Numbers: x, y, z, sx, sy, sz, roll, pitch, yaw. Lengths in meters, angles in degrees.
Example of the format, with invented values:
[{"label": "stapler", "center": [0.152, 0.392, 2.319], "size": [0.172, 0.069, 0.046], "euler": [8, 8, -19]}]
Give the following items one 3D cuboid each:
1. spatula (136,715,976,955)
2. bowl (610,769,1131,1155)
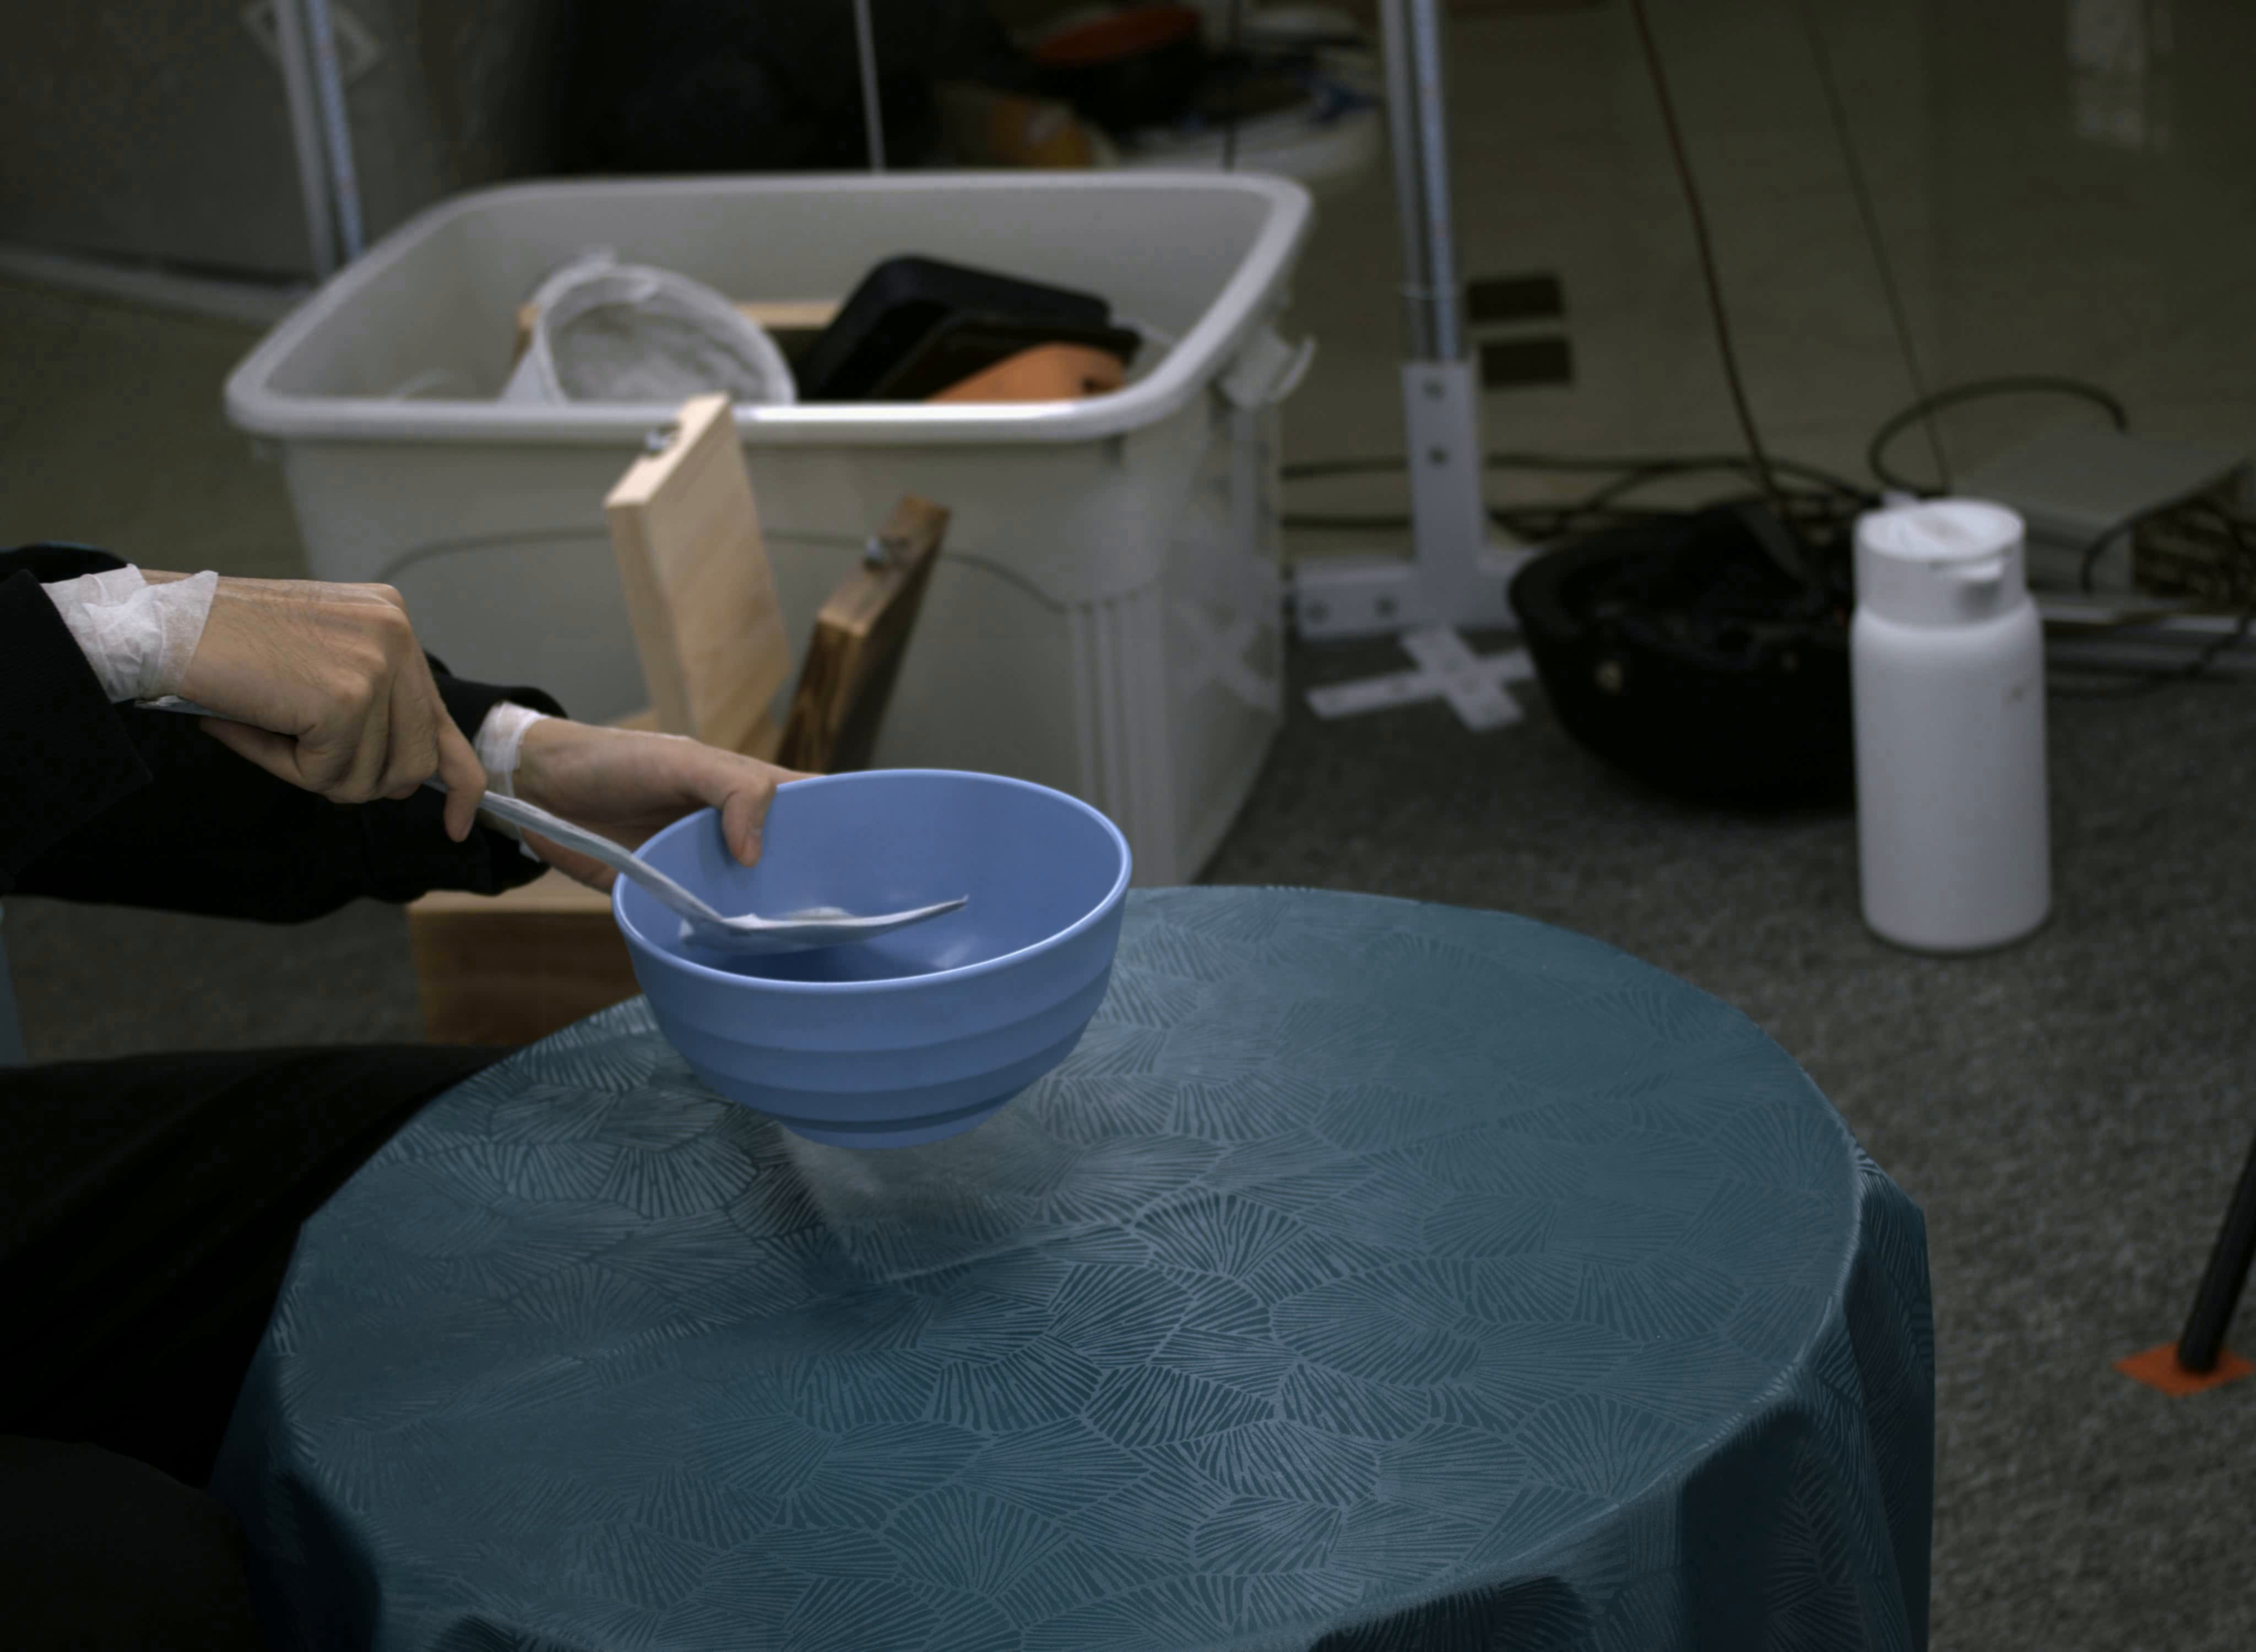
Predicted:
[{"label": "spatula", "center": [-0.207, -0.002, 2.068], "size": [0.098, 0.044, 0.367], "euler": [-4, -20, 44]}, {"label": "bowl", "center": [-0.093, 0.062, 2.145], "size": [0.196, 0.097, 0.193], "euler": [-4, 26, 2]}]
